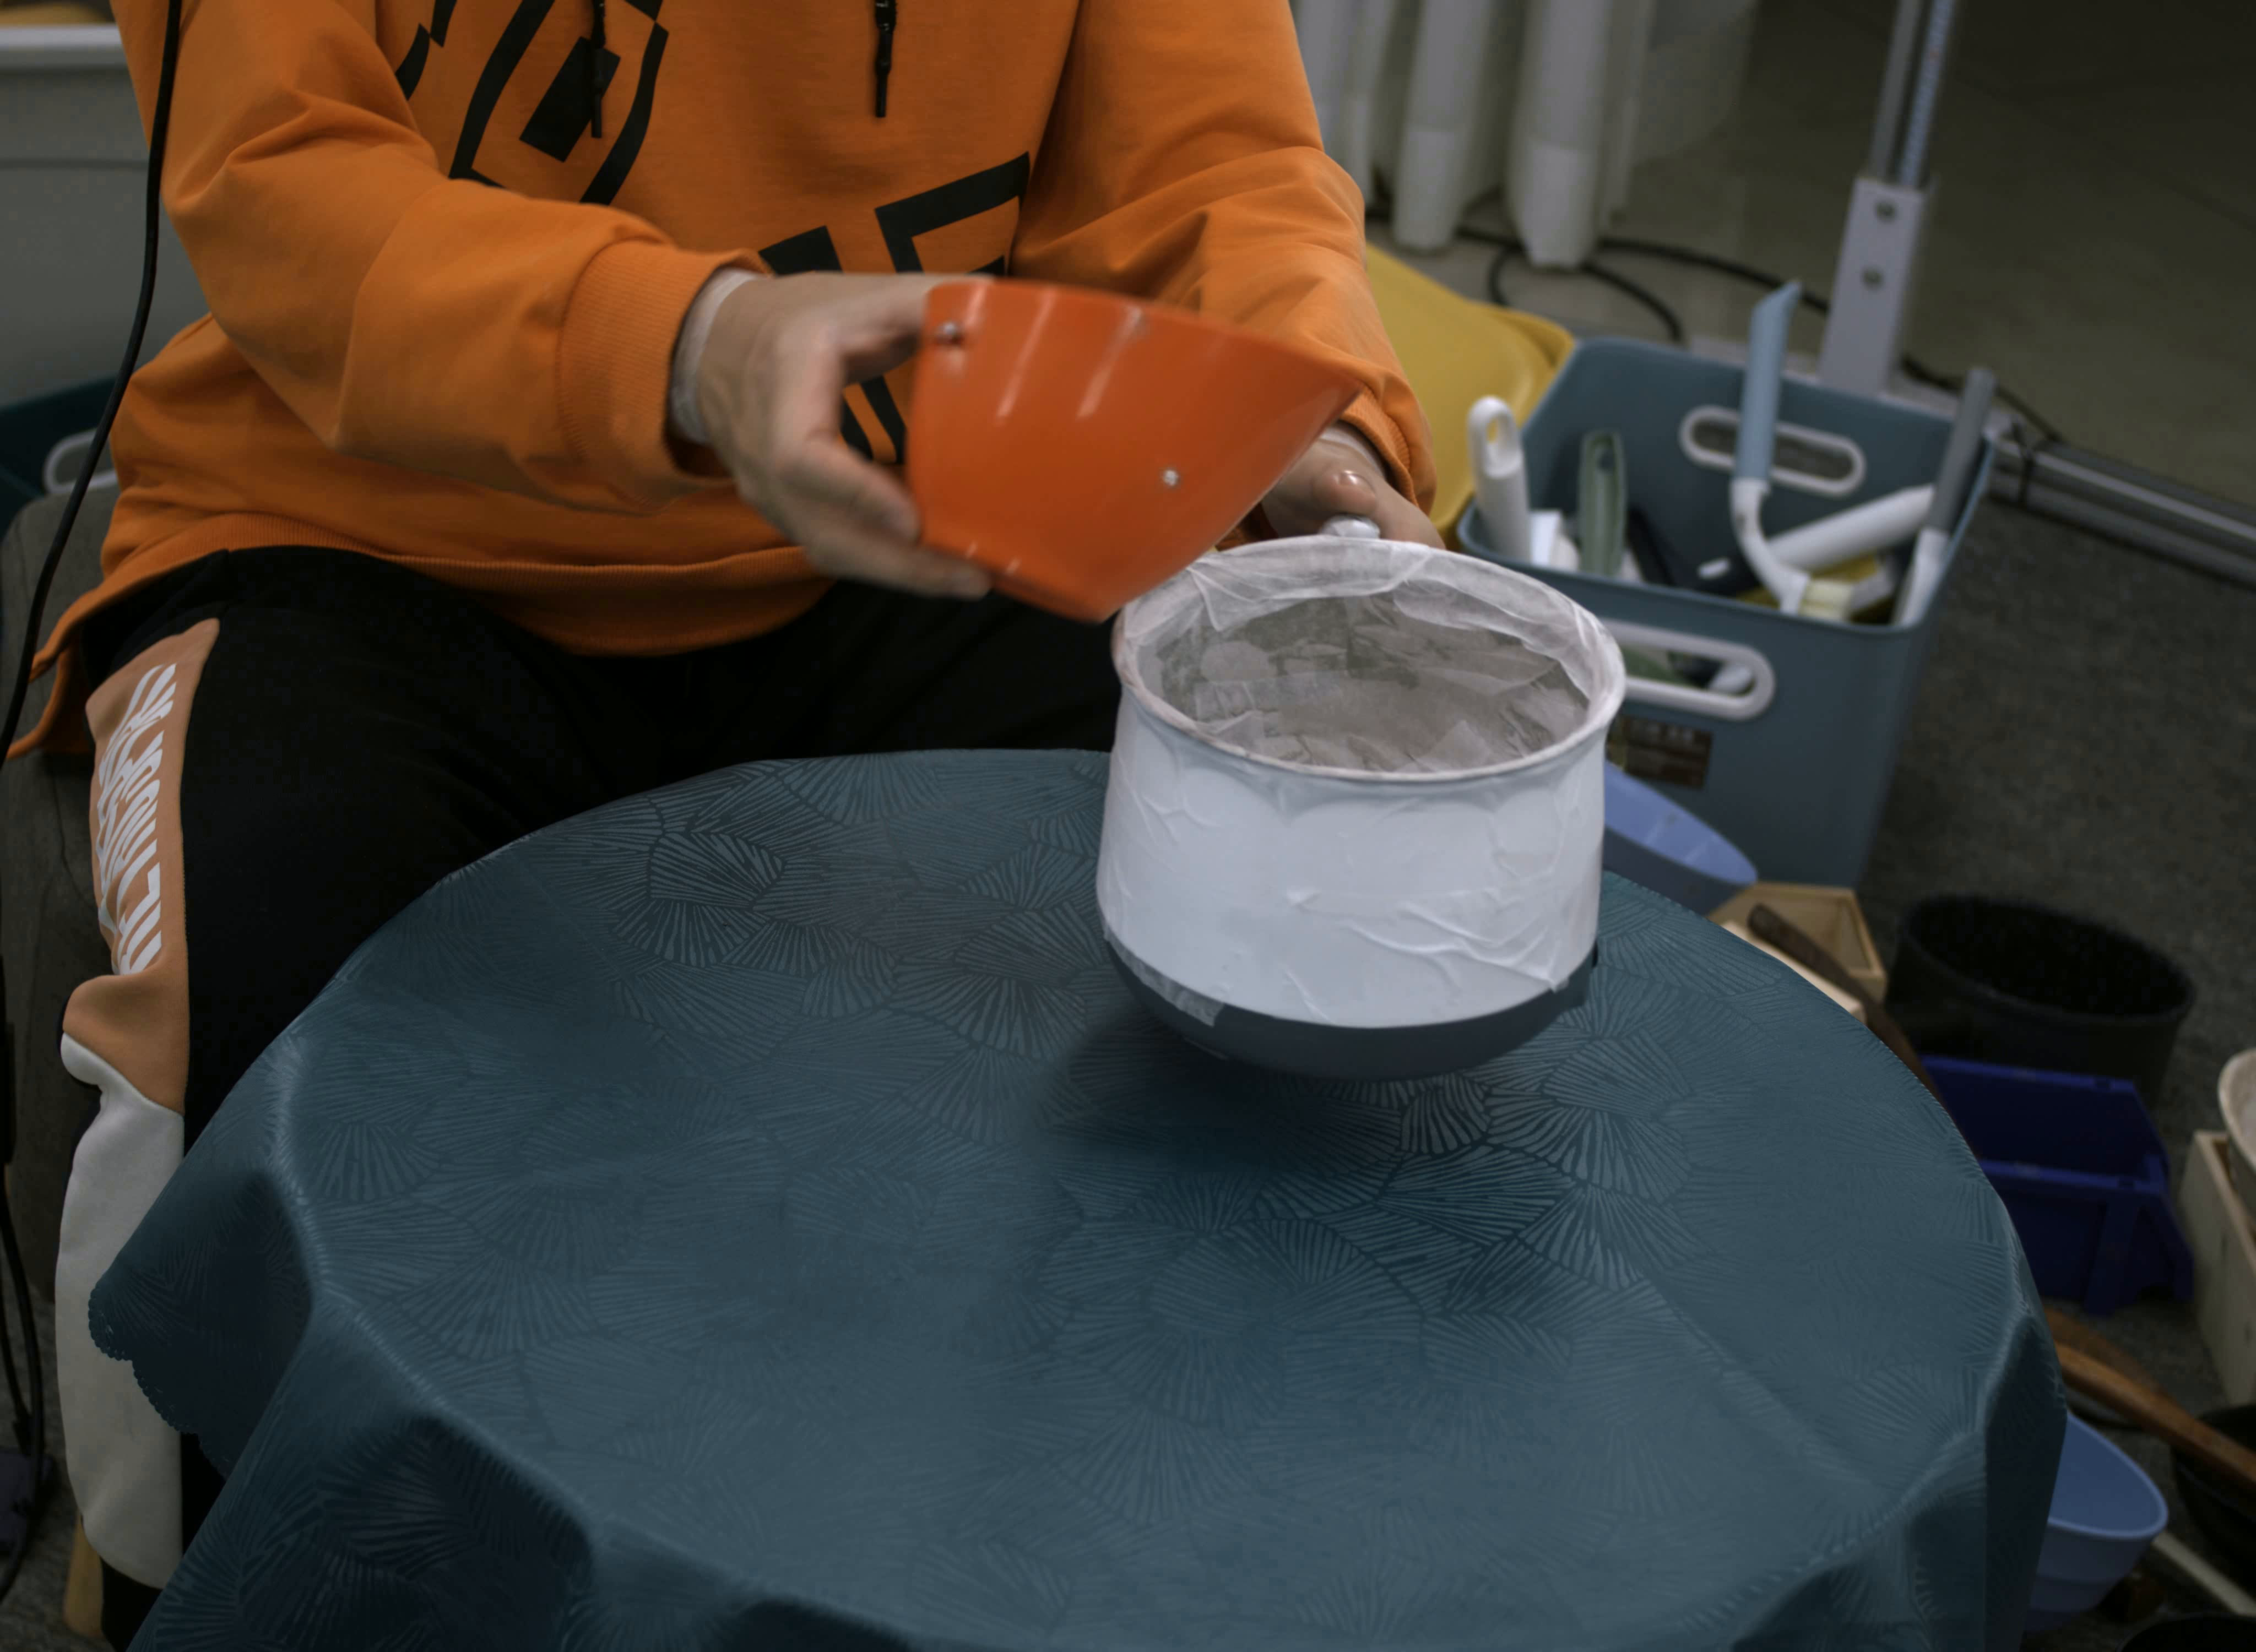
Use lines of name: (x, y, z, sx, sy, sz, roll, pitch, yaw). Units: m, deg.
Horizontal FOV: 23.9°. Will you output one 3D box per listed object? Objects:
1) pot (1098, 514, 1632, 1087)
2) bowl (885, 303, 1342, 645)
pot: (0.078, -0.016, 1.870, 0.178, 0.136, 0.235, 2, 29, -4)
bowl: (-0.016, -0.116, 1.763, 0.148, 0.105, 0.148, 20, -3, 1)
